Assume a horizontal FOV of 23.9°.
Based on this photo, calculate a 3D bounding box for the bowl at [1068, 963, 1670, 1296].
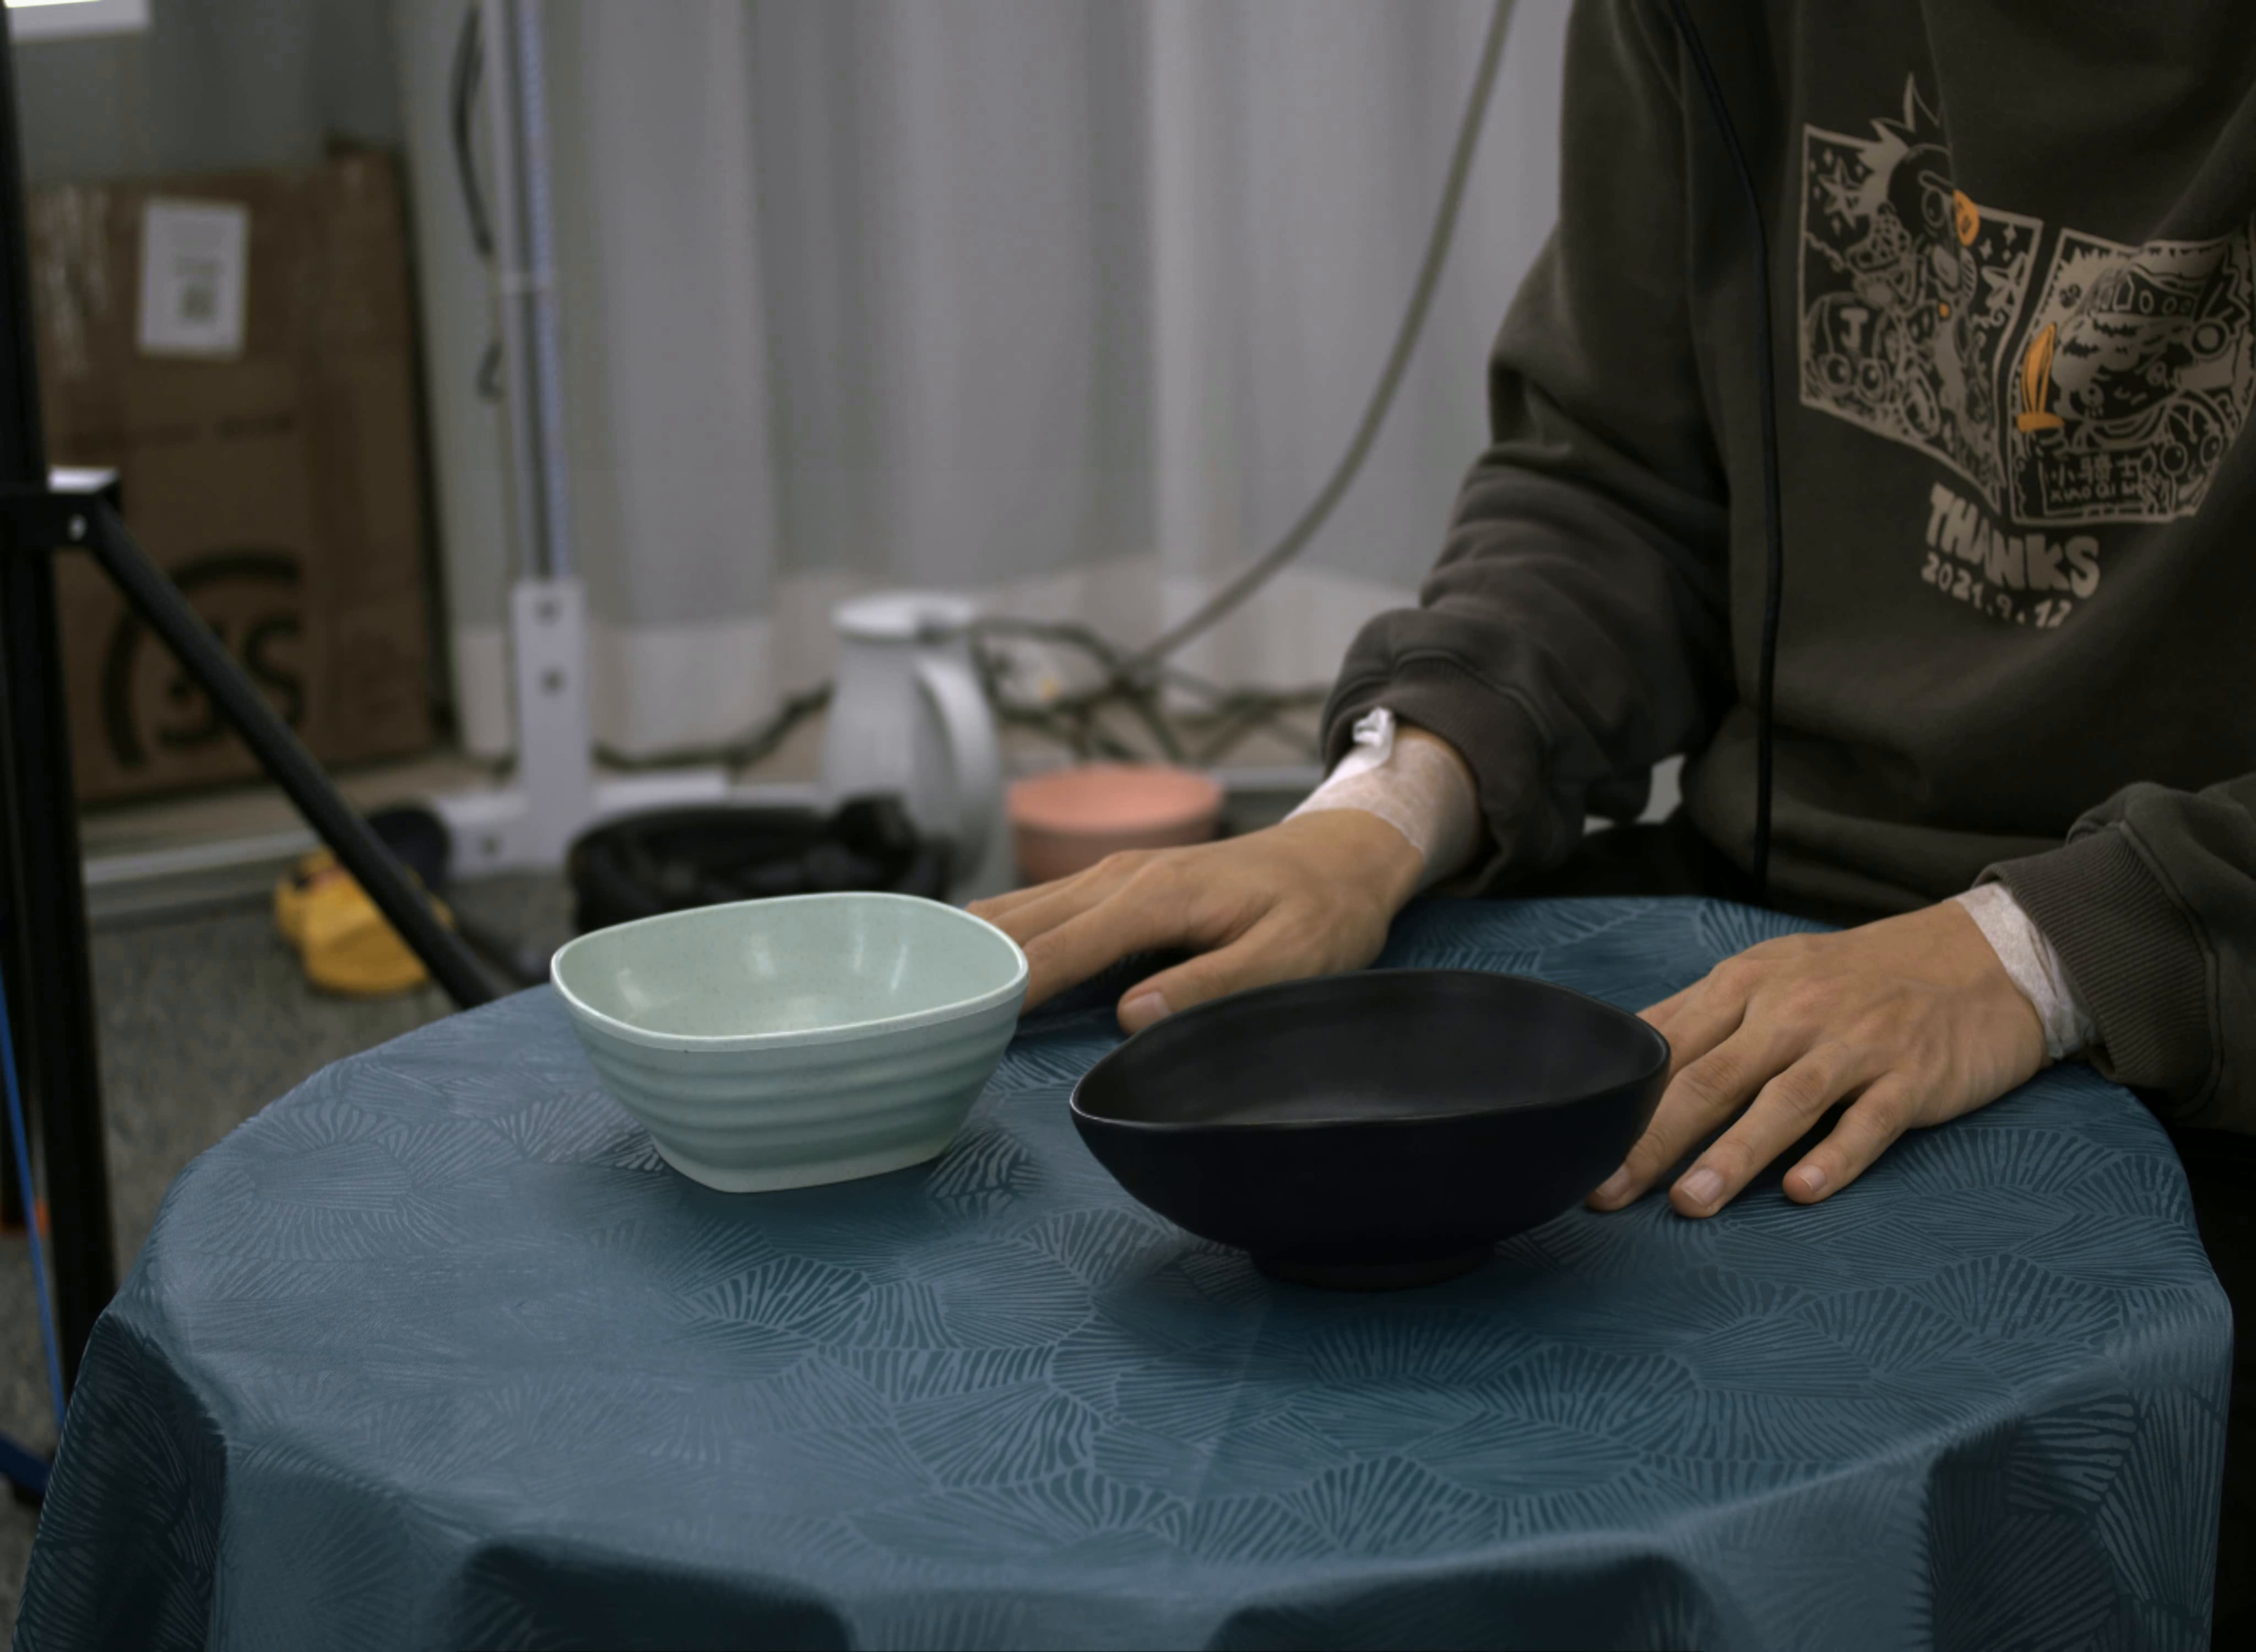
[{"bbox_3d":[0.069,0.091,1.494,0.169,0.066,0.138,-4,16,0],"label":"bowl"}]

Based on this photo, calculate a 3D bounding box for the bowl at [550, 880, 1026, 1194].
[{"bbox_3d":[-0.102,0.067,1.617,0.151,0.058,0.152,-3,18,-1],"label":"bowl"}]
